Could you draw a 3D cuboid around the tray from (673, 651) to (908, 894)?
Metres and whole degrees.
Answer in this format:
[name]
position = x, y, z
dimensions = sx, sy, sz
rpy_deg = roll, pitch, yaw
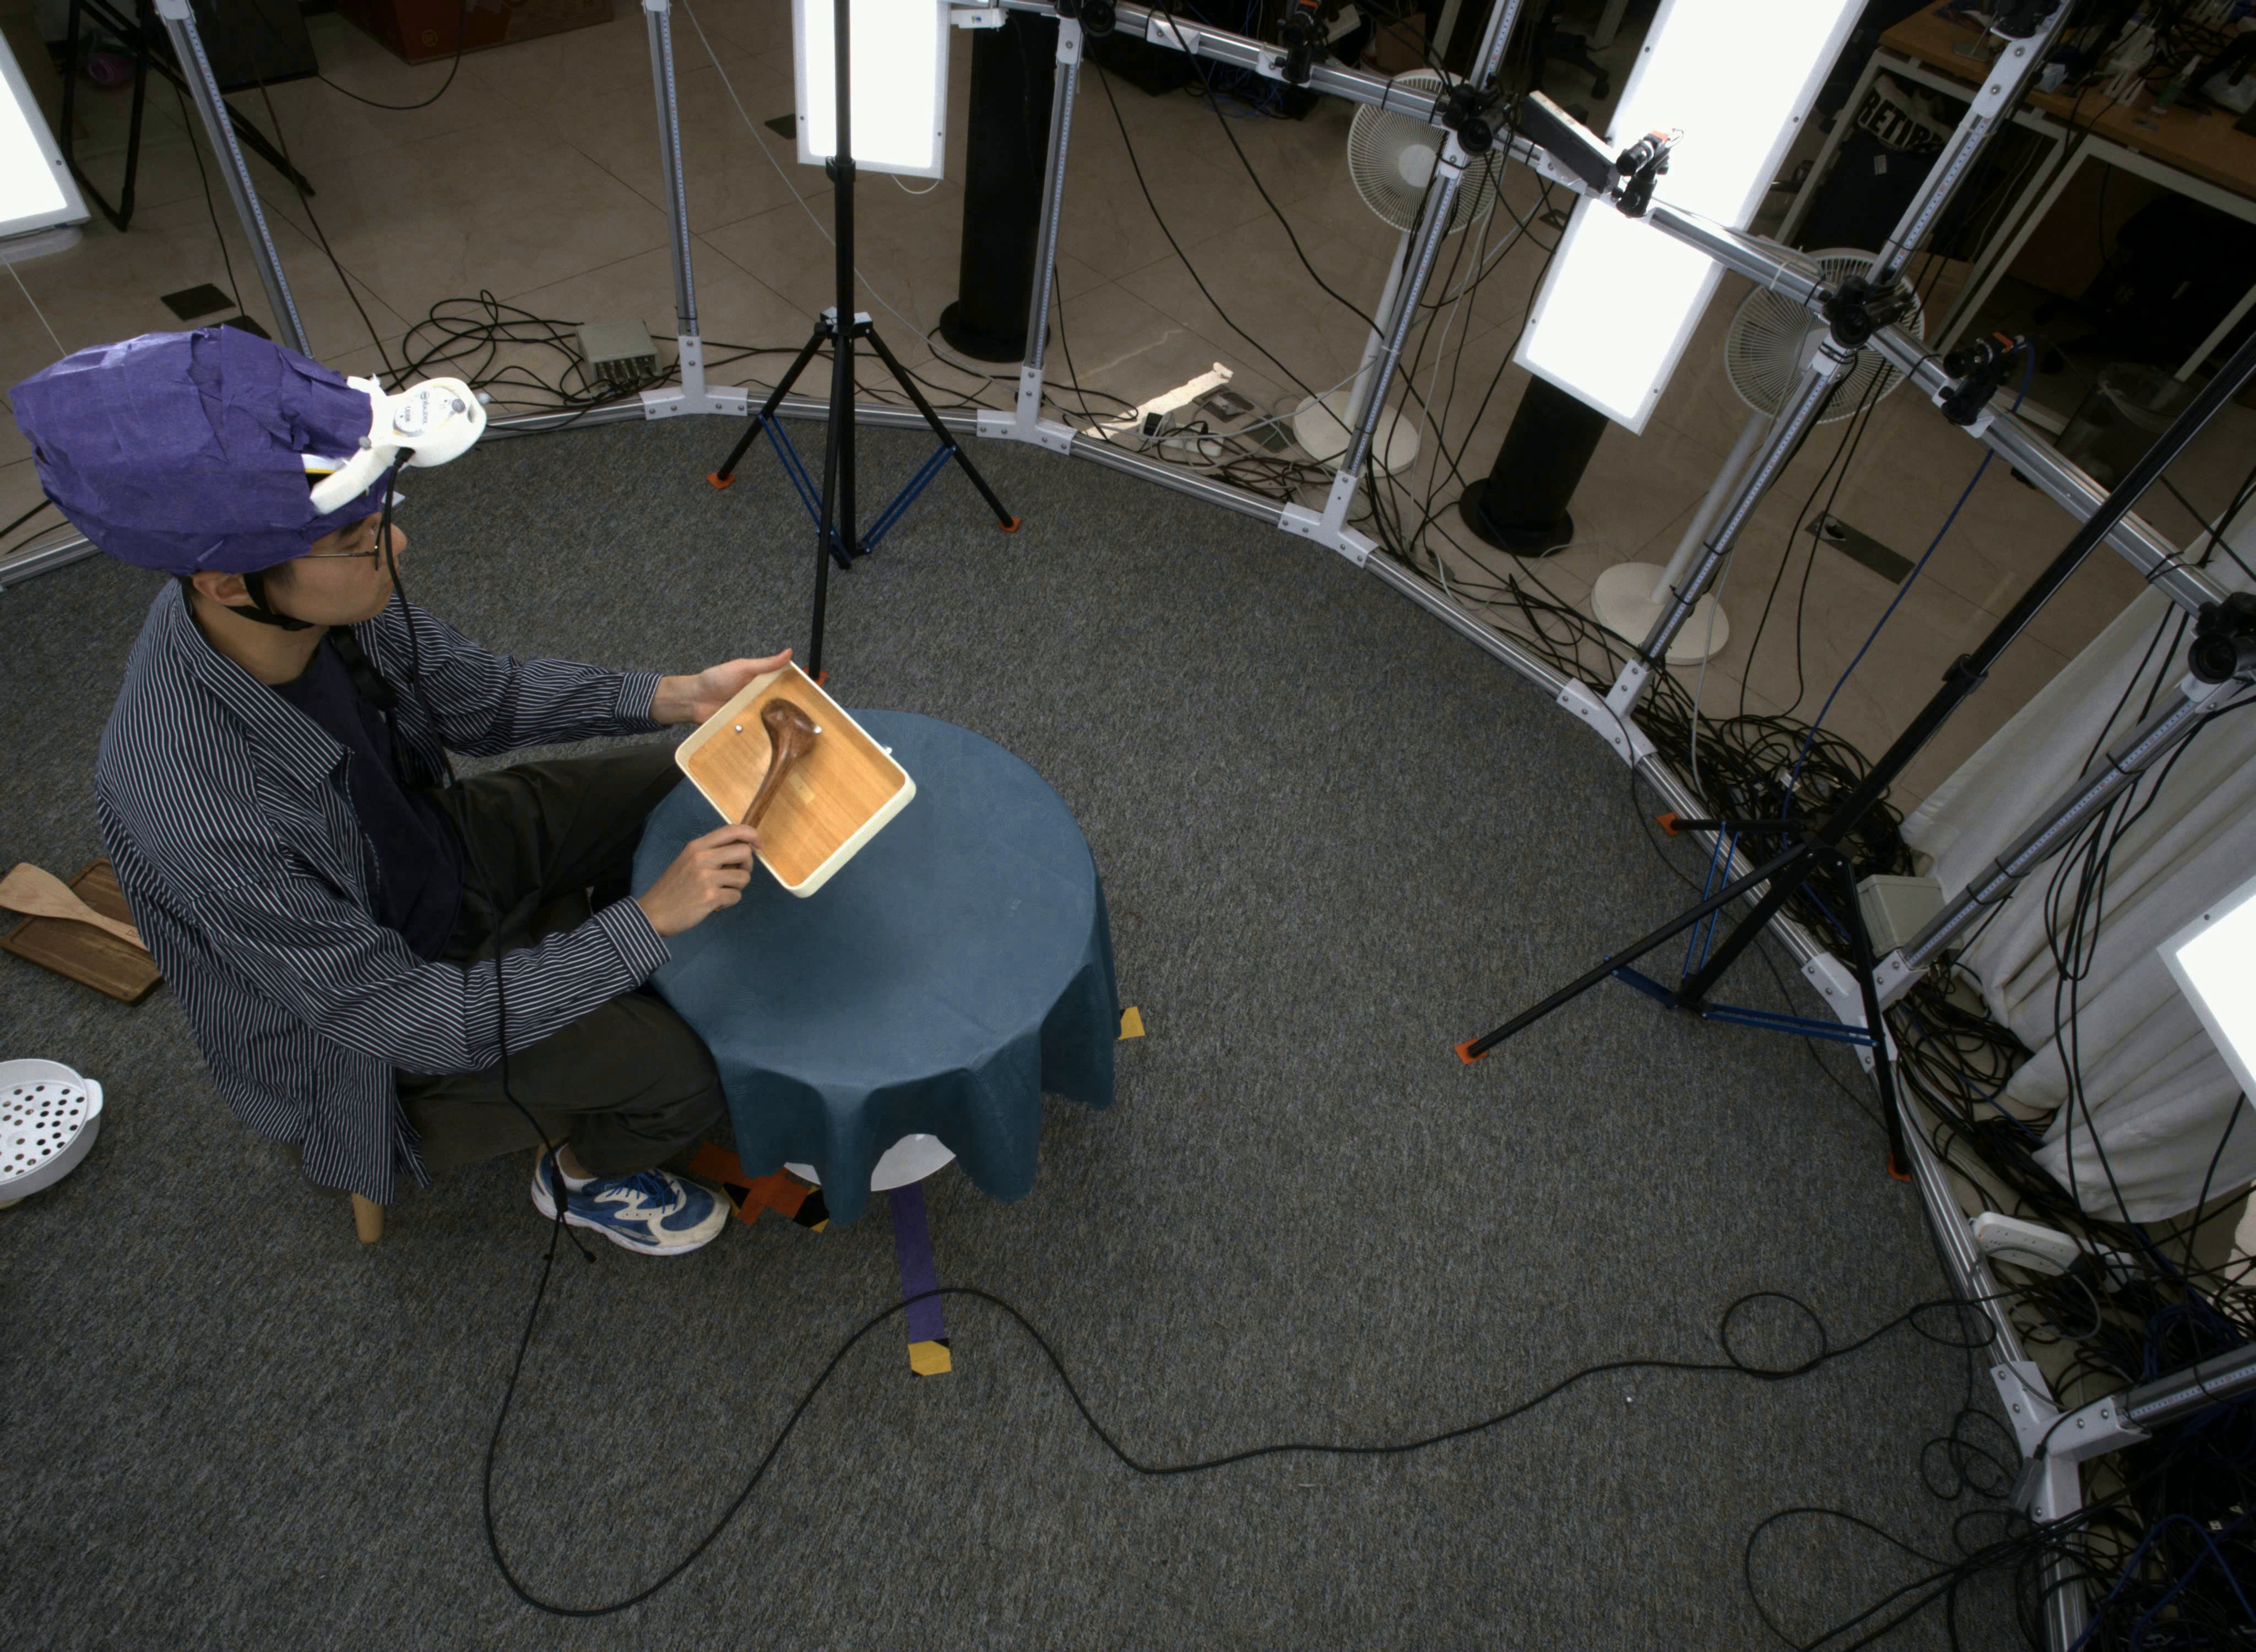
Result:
[tray]
position = -0.410, -0.071, 1.553
dimensions = 0.191, 0.028, 0.290
rpy_deg = -44, 60, -7

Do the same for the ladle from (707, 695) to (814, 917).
[ladle]
position = -0.443, -0.028, 1.507
dimensions = 0.084, 0.074, 0.274
rpy_deg = 32, 70, -36
